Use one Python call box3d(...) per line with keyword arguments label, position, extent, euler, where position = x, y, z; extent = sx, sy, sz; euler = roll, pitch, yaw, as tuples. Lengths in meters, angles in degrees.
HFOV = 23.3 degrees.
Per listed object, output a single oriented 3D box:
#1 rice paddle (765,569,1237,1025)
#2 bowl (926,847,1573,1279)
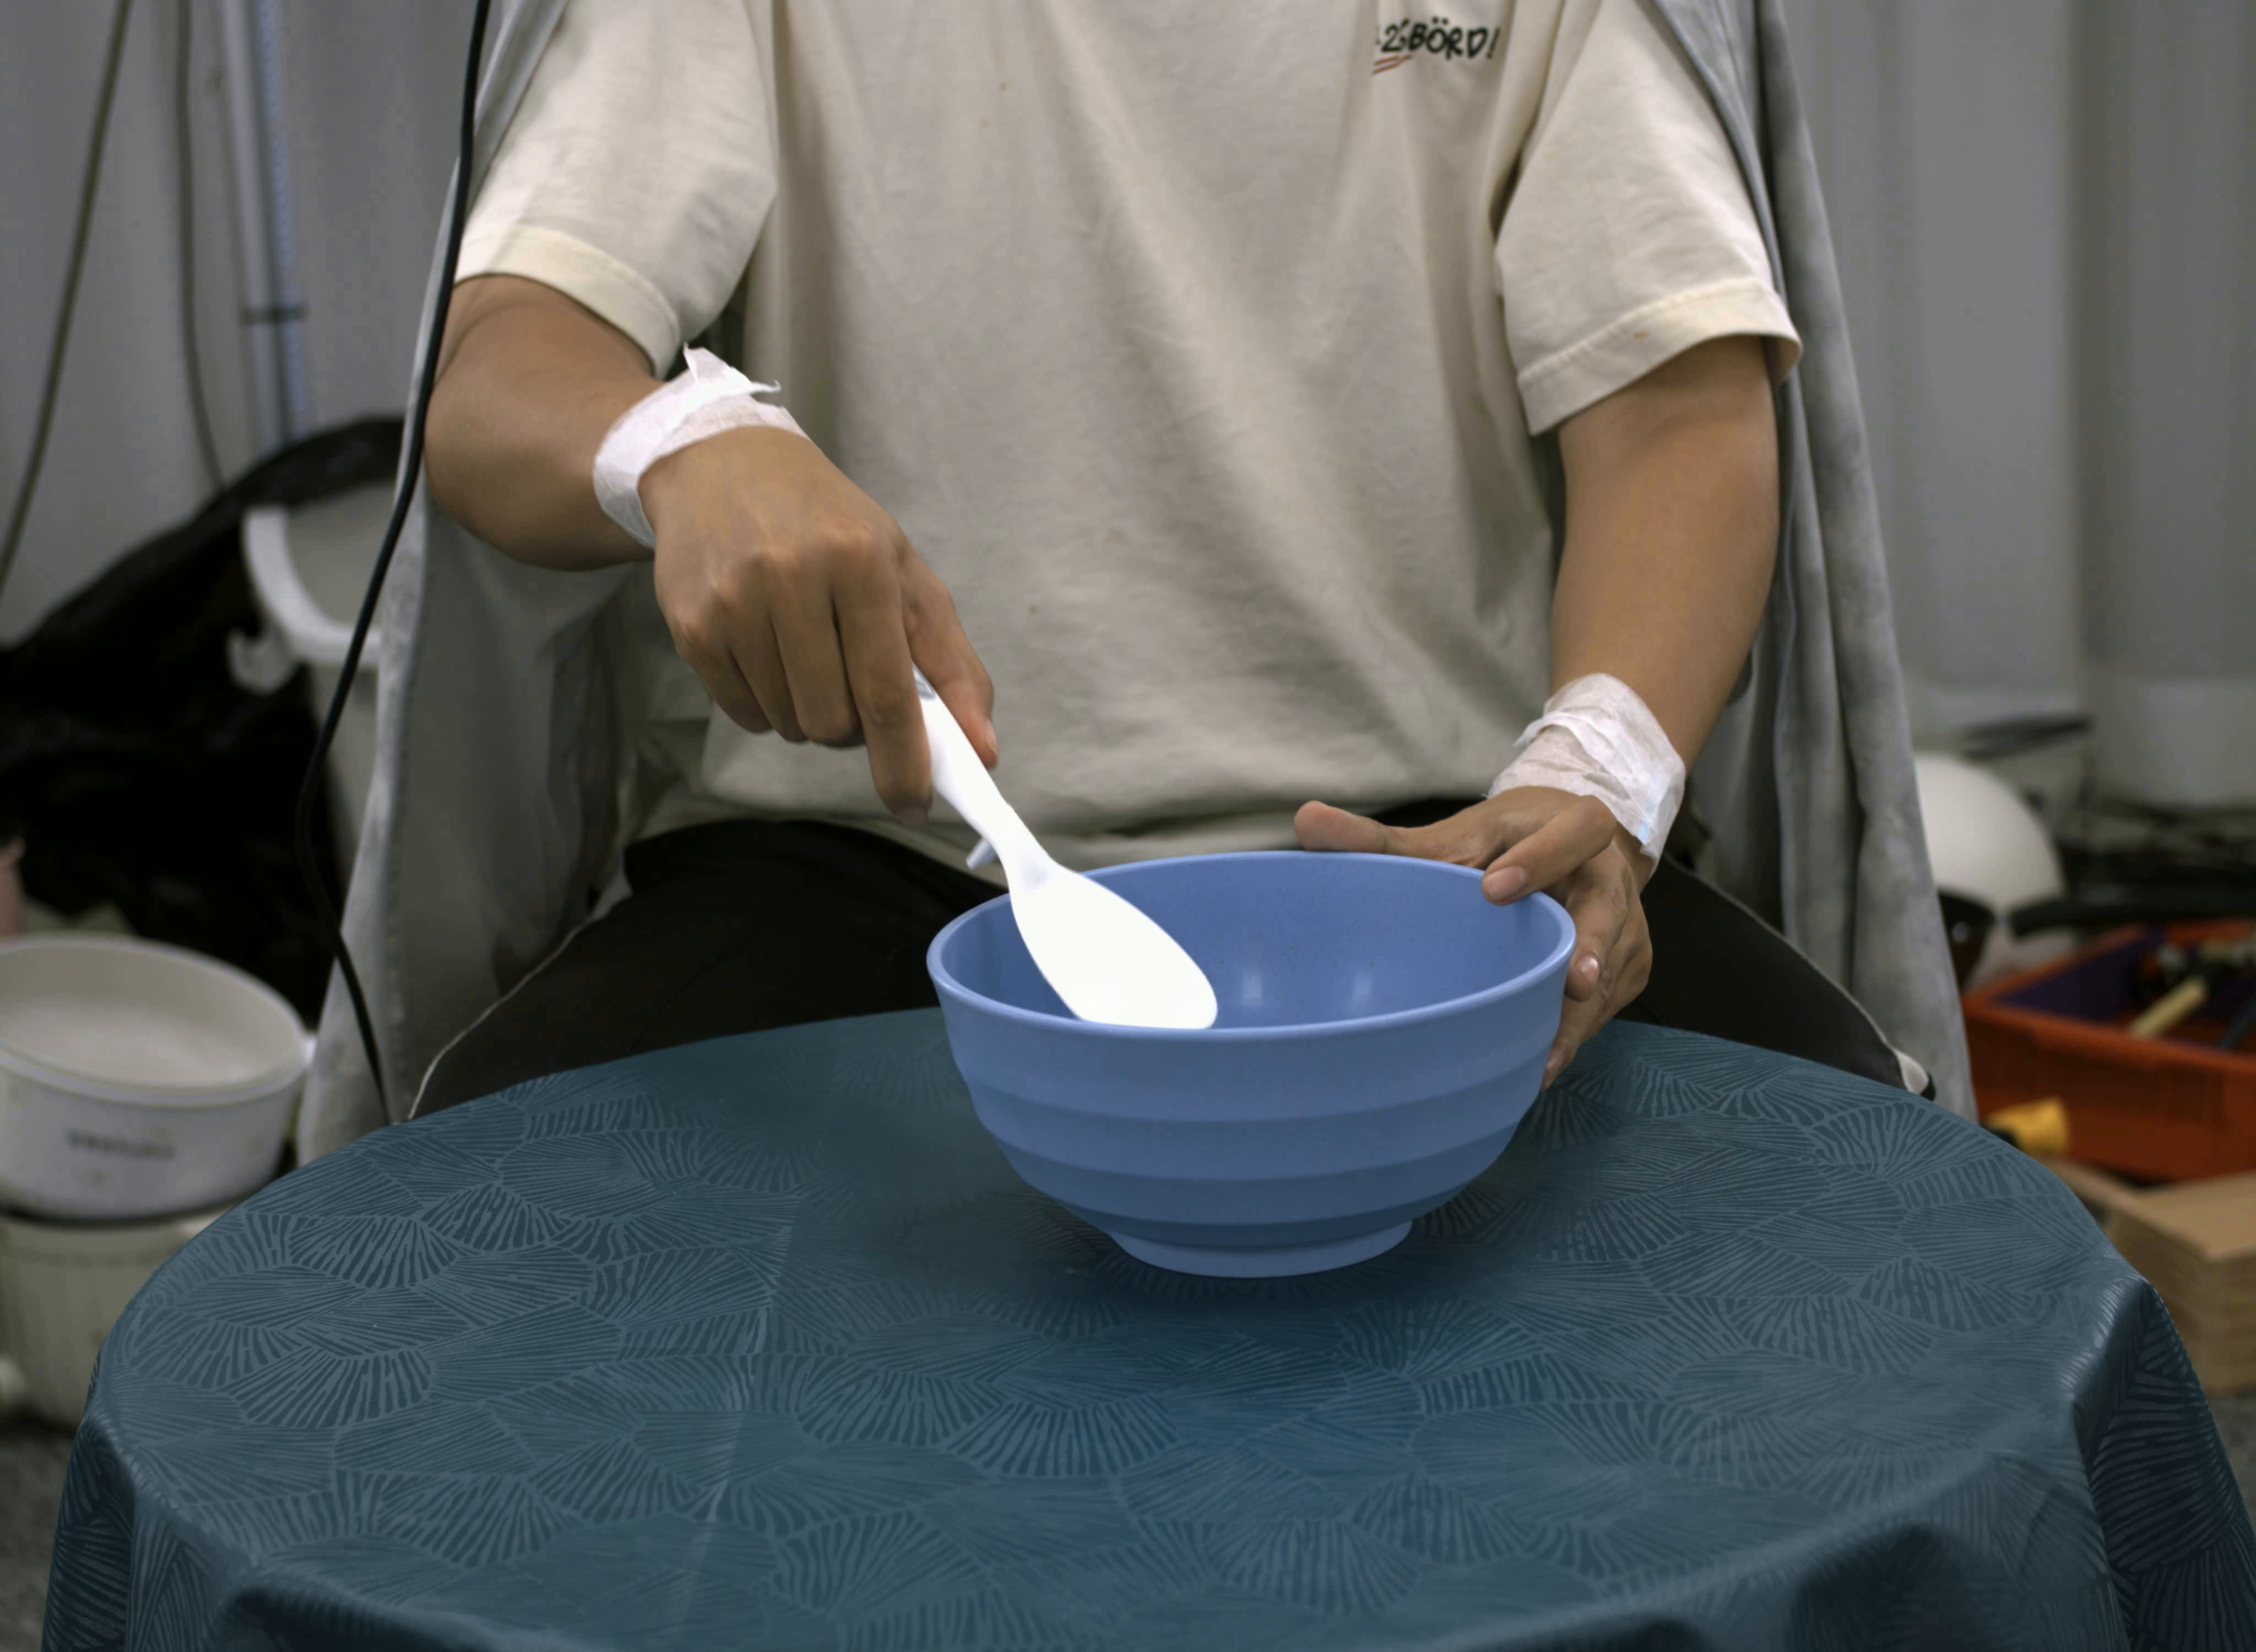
box3d(label="rice paddle", position=(-0.036, 0.003, 1.693), extent=(0.206, 0.029, 0.069), euler=(48, 33, 14))
box3d(label="bowl", position=(0.039, 0.078, 1.666), extent=(0.196, 0.095, 0.198), euler=(-3, 16, 1))
